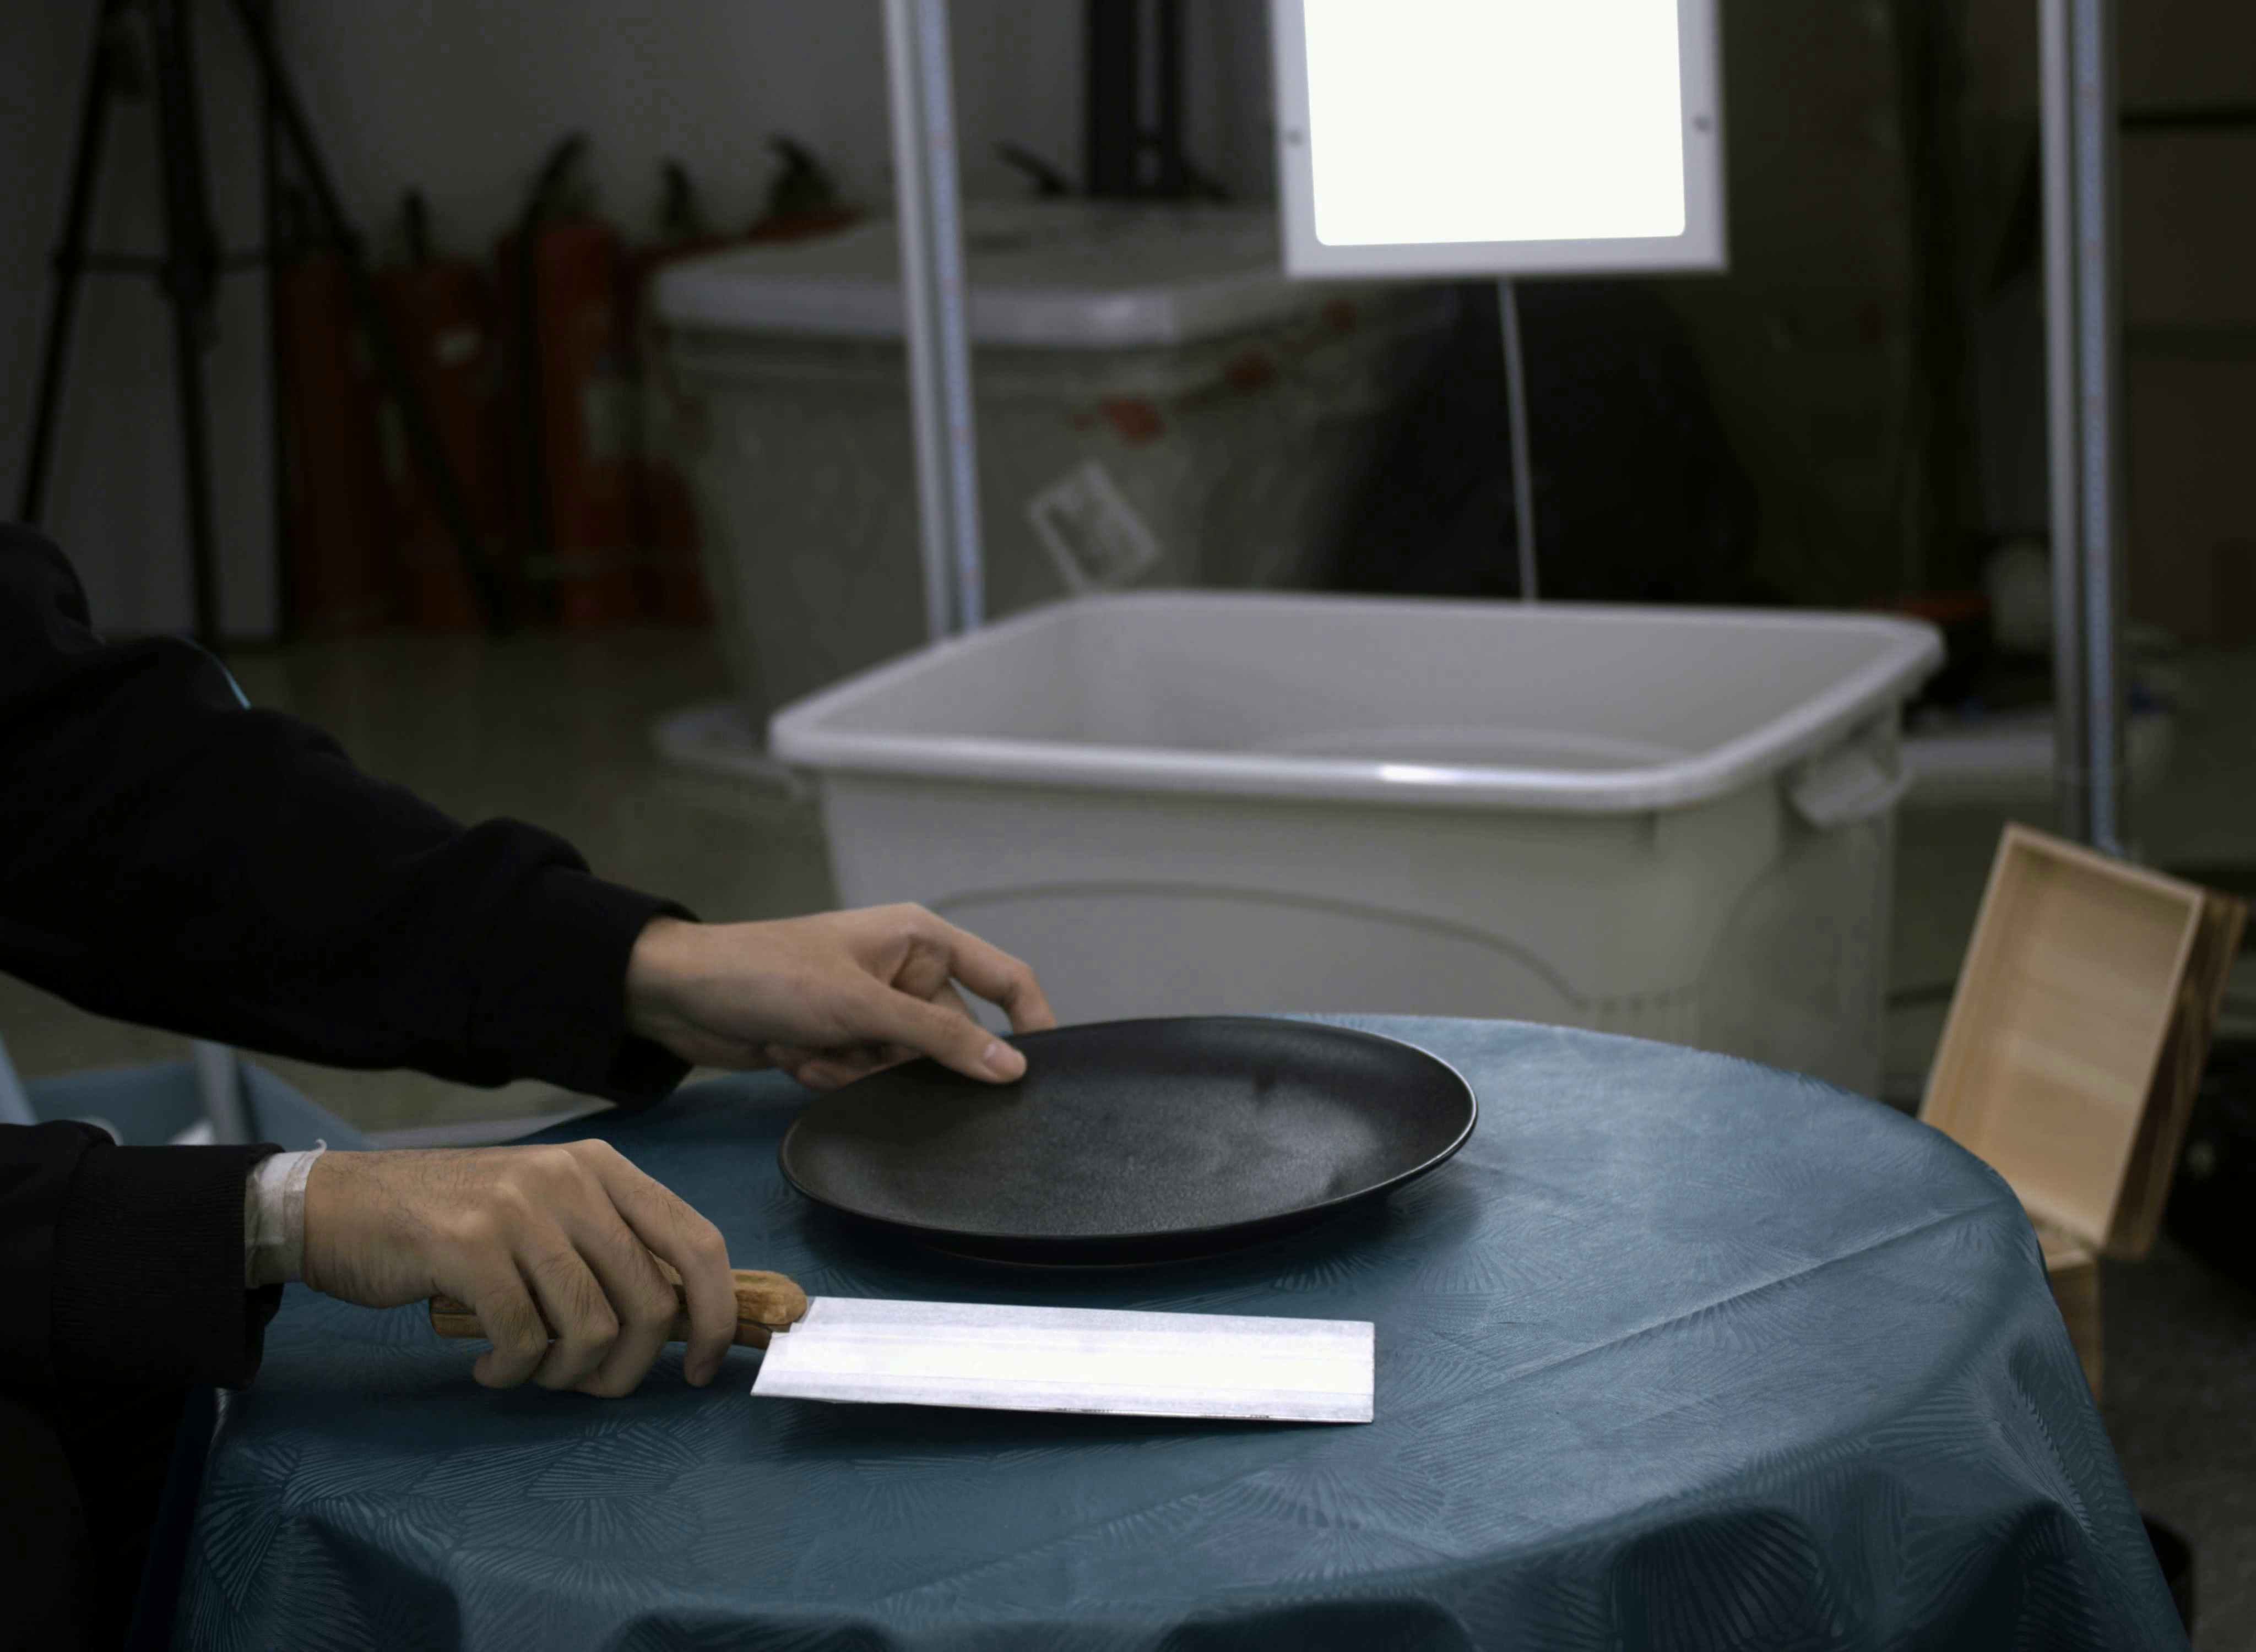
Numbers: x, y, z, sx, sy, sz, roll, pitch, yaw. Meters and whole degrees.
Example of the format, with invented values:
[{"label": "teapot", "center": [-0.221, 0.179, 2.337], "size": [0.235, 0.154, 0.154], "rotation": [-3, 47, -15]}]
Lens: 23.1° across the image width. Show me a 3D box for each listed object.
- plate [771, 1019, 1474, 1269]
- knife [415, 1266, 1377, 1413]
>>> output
[{"label": "plate", "center": [-0.001, 0.112, 1.901], "size": [0.244, 0.023, 0.244], "rotation": [-5, 15, 0]}, {"label": "knife", "center": [-0.075, 0.162, 1.711], "size": [0.306, 0.021, 0.092], "rotation": [2, 15, 5]}]
